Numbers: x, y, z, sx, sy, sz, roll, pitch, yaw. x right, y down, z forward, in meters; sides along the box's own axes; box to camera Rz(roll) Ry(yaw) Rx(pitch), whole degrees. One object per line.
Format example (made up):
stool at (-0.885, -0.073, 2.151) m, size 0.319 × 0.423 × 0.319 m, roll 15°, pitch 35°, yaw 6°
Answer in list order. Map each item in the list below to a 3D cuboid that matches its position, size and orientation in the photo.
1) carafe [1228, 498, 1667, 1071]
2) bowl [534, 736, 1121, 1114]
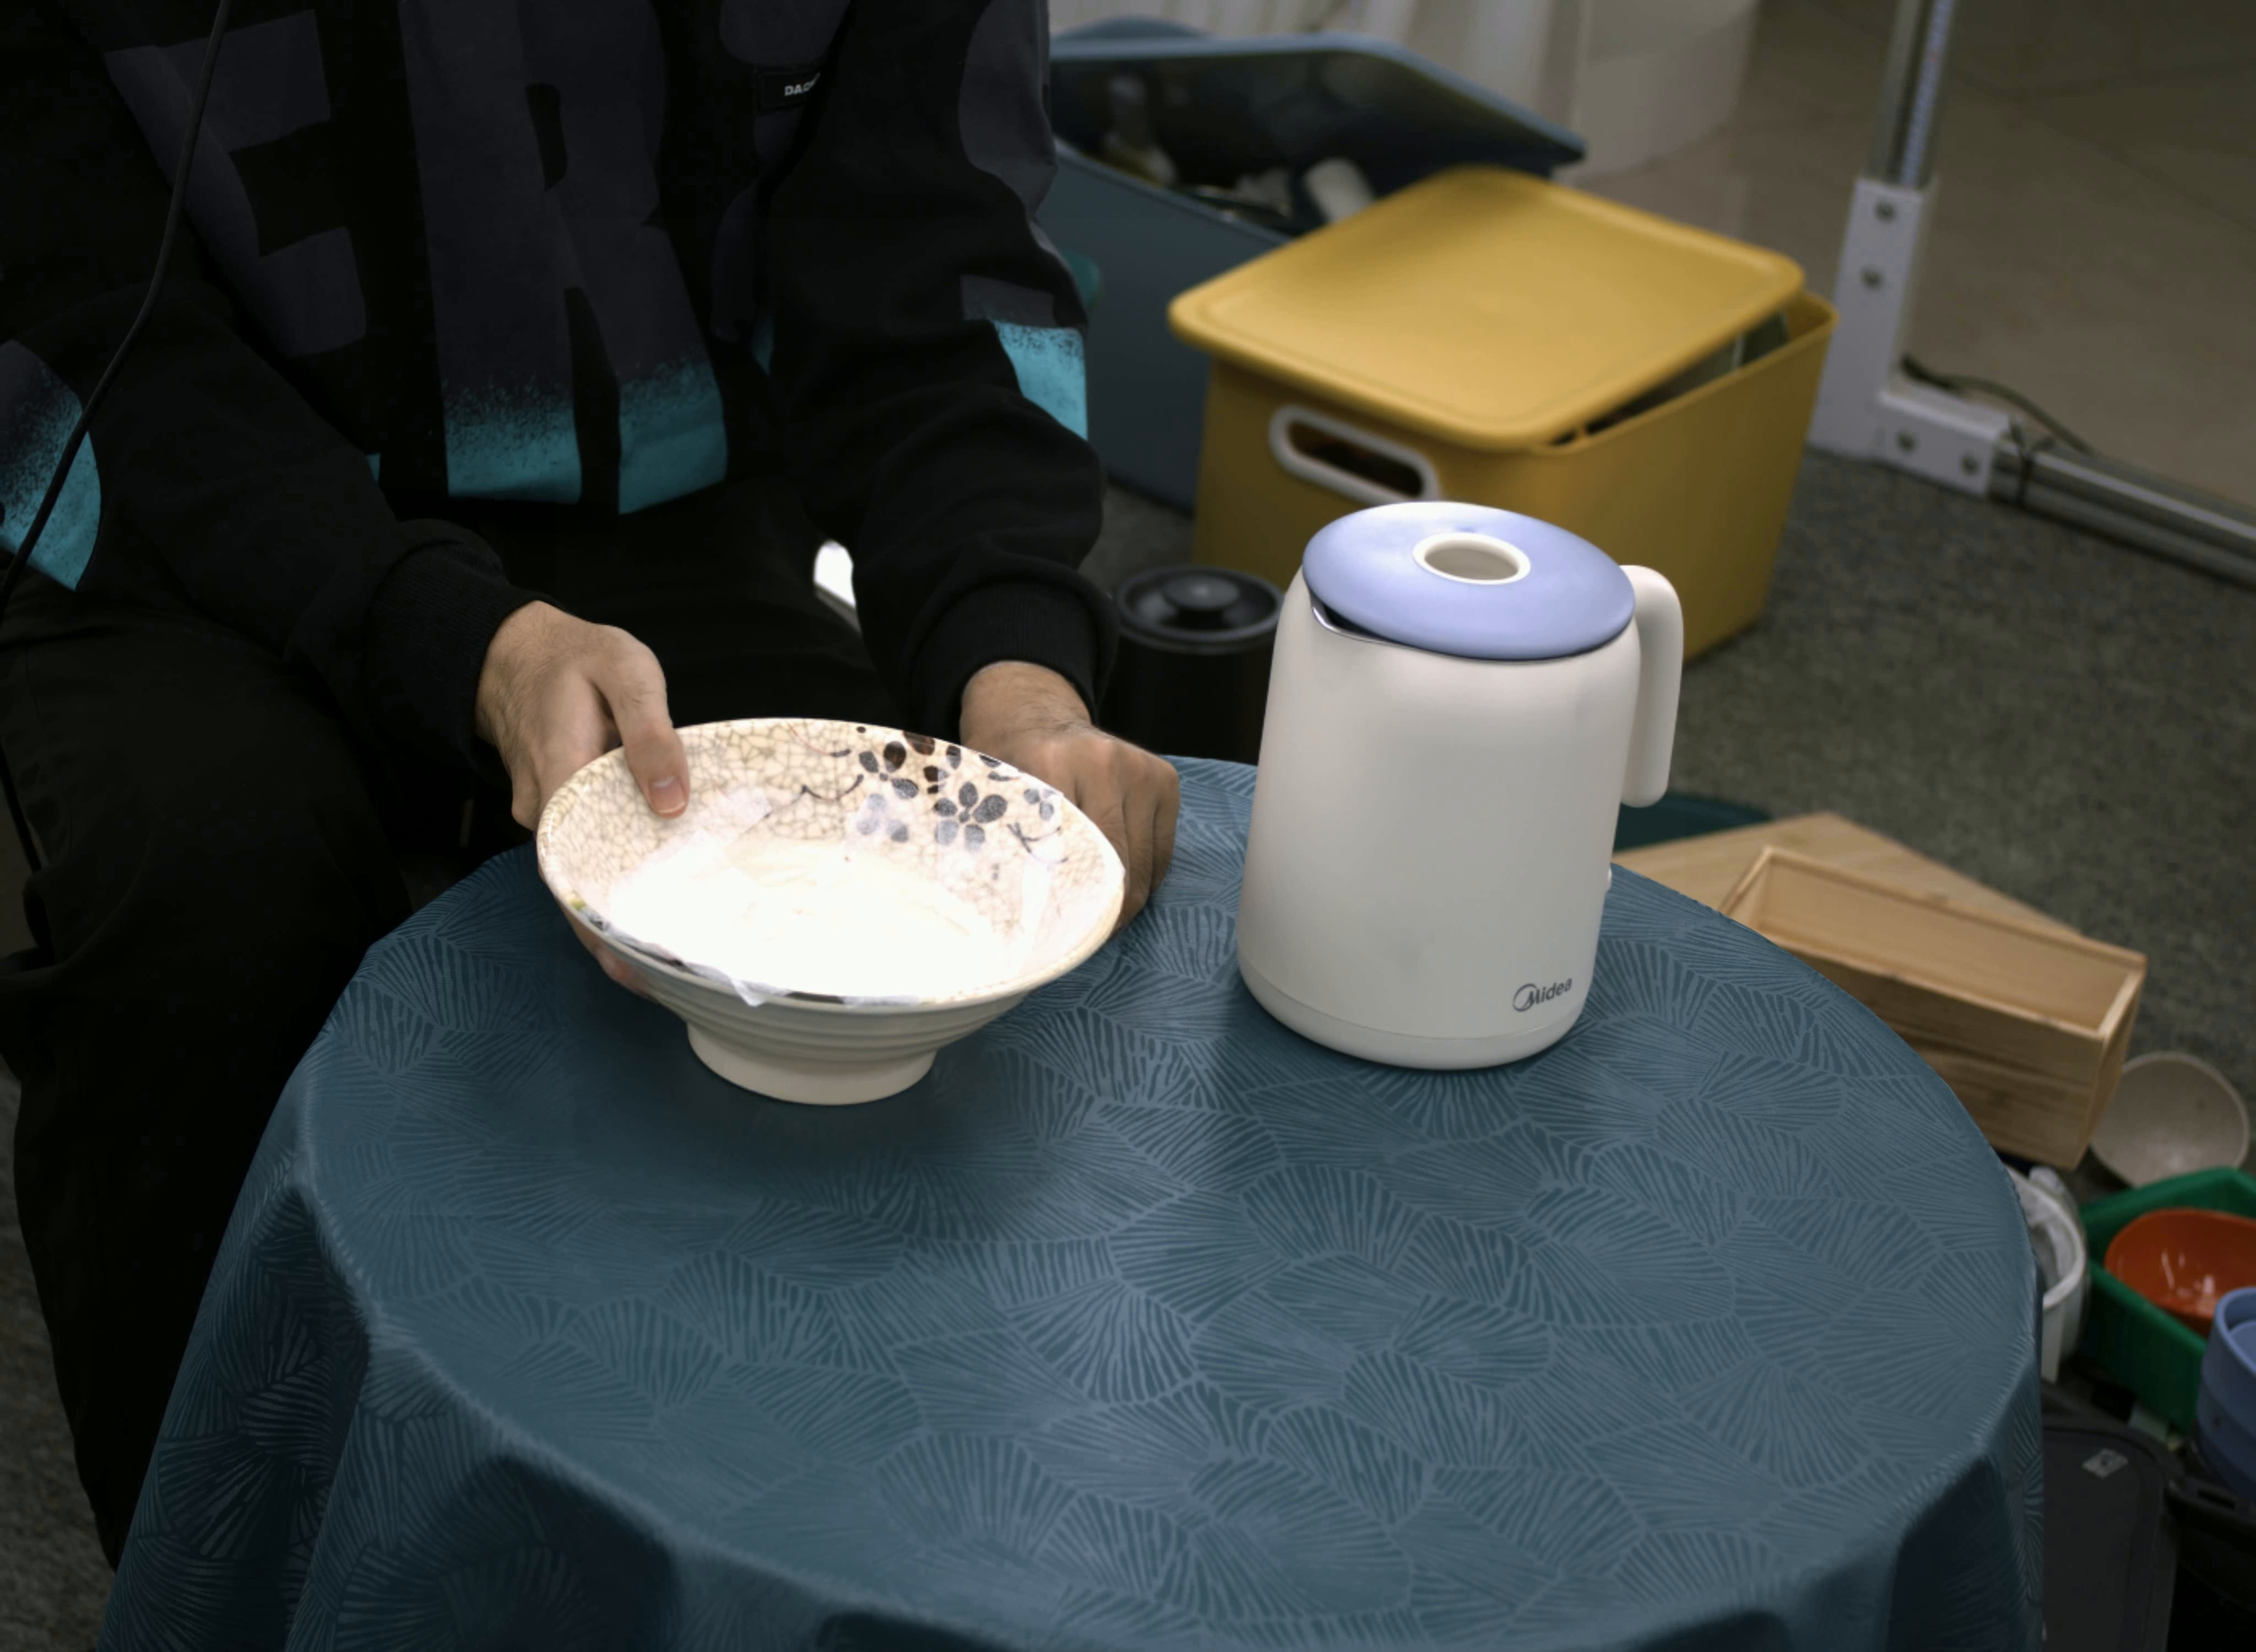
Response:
carafe at (0.127, -0.020, 1.923) m, size 0.190 × 0.182 × 0.133 m, roll -15°, pitch 35°, yaw -41°
bowl at (-0.107, 0.046, 1.846) m, size 0.203 × 0.078 × 0.205 m, roll 6°, pitch 25°, yaw -3°
